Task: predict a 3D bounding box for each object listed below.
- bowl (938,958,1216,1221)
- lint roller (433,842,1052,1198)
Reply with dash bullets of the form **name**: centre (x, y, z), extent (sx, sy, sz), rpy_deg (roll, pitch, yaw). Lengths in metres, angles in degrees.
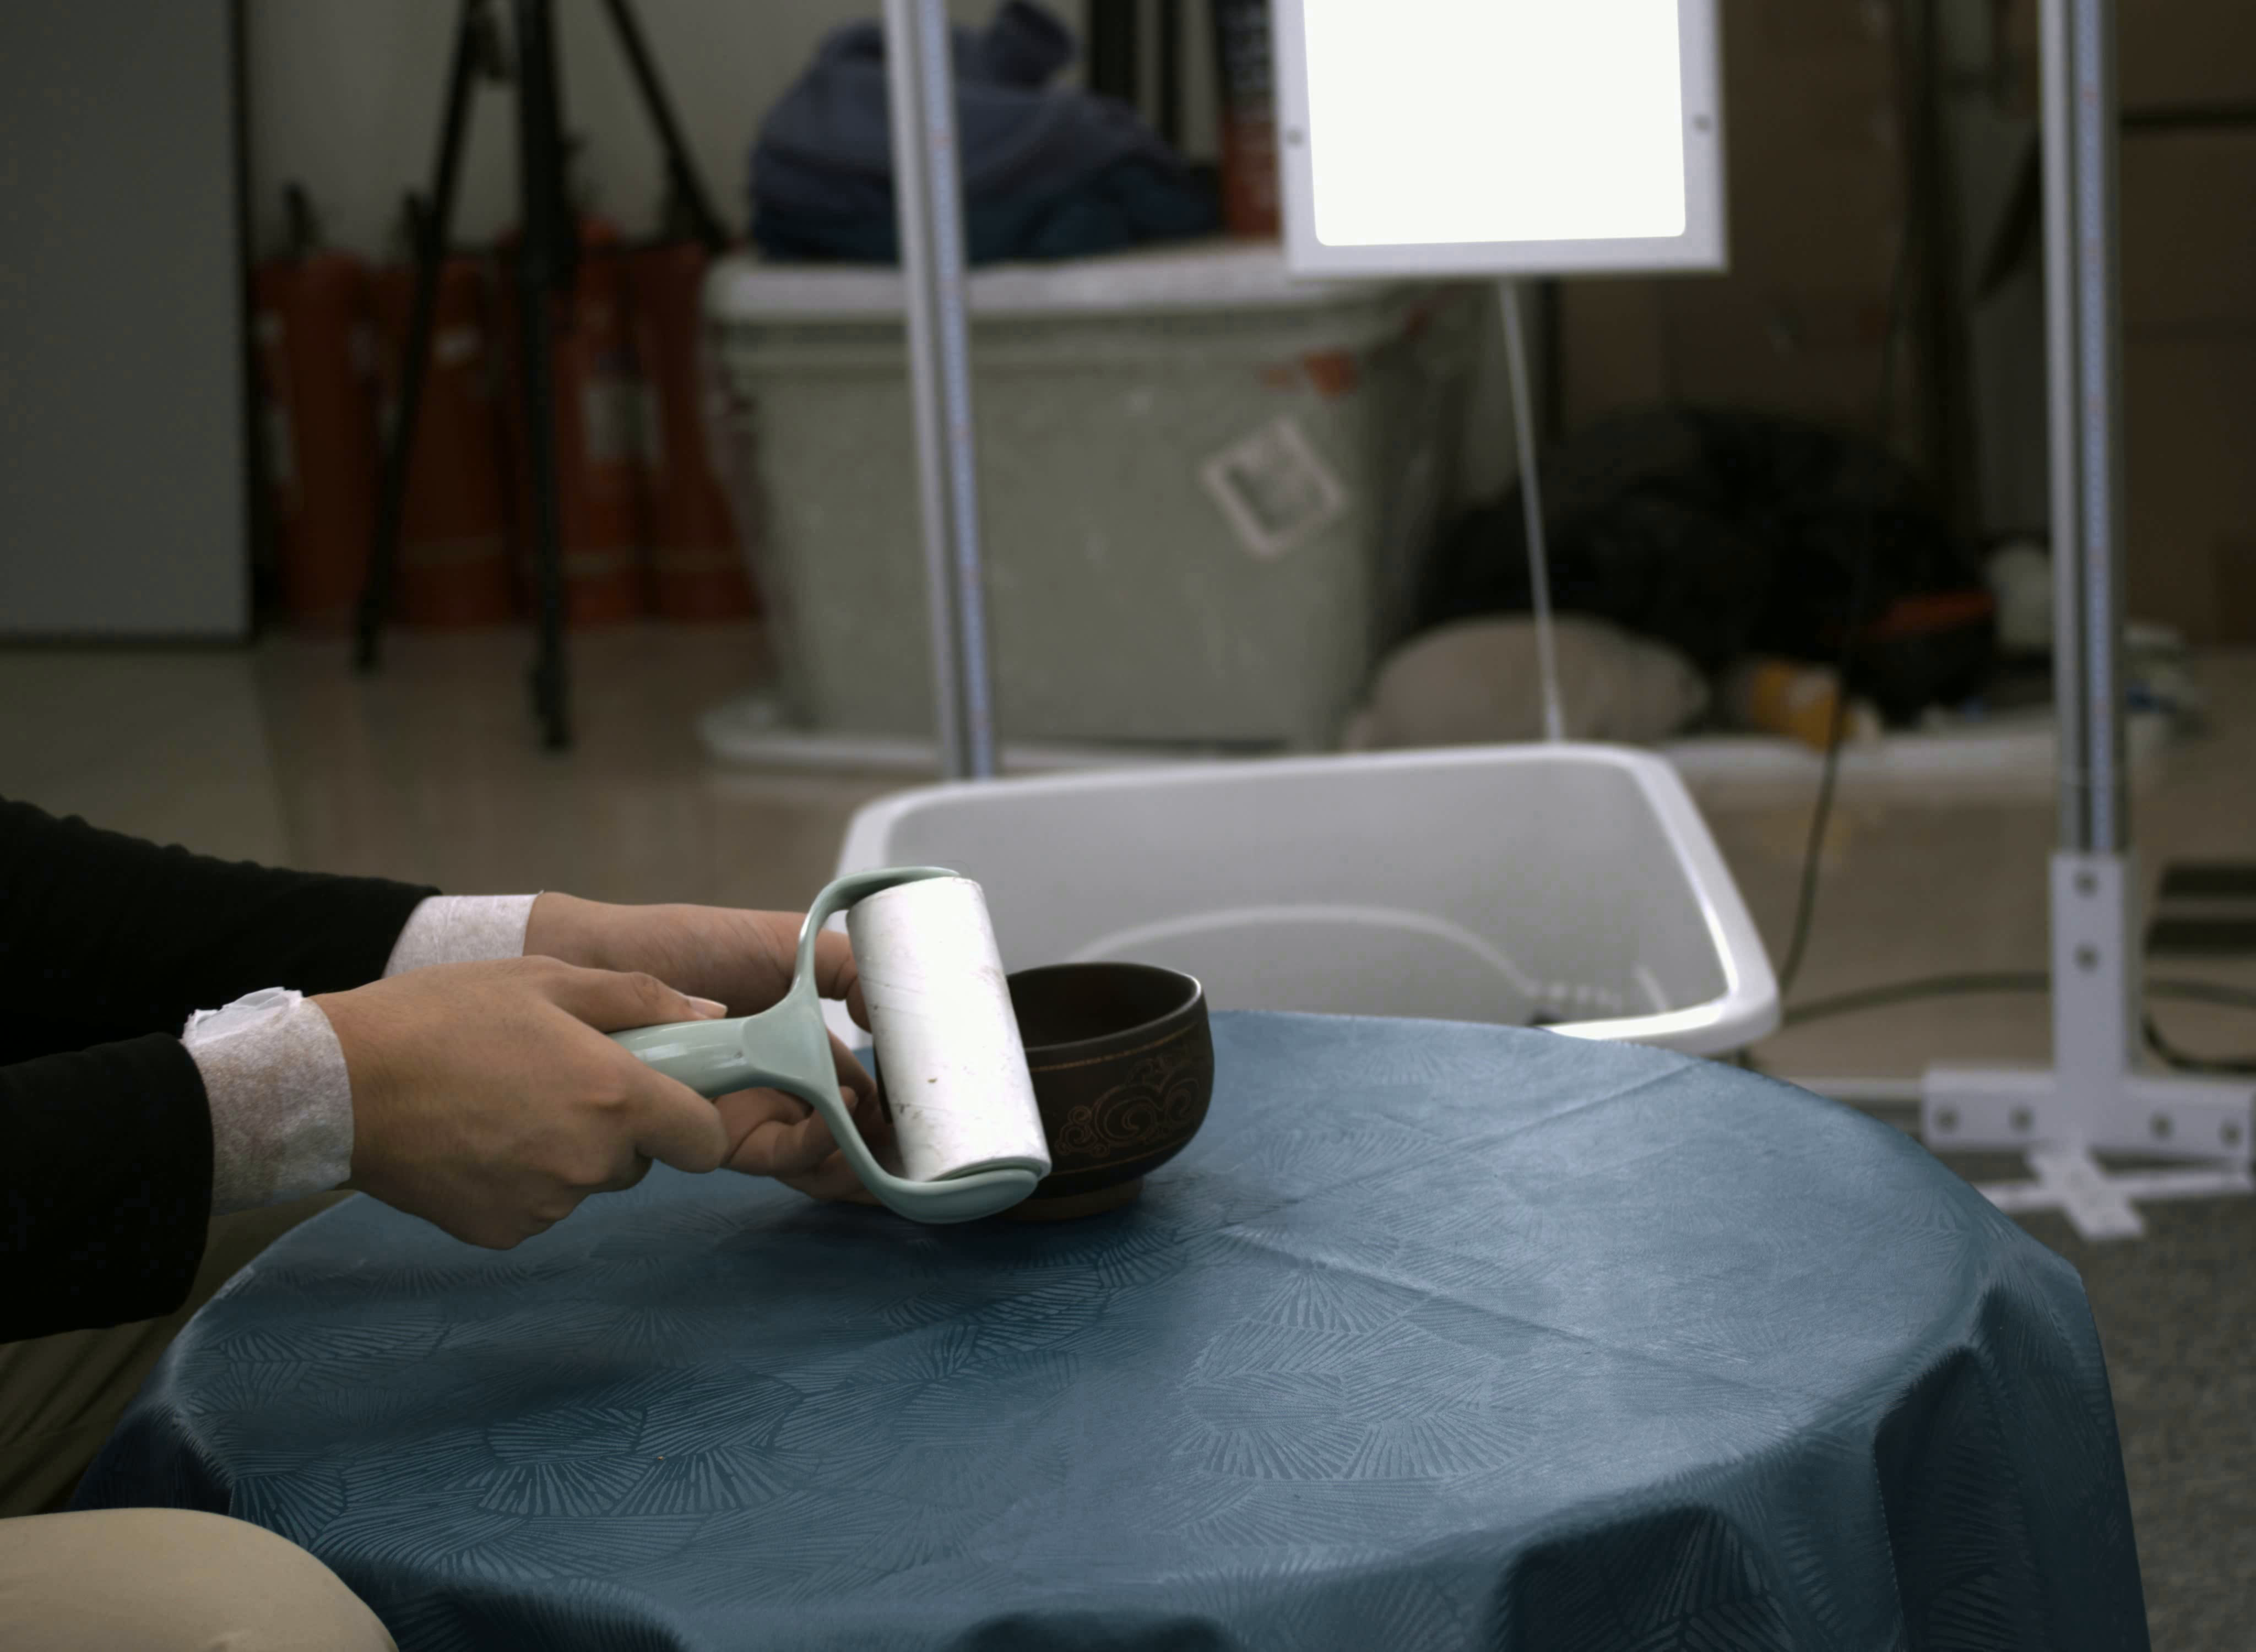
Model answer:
- **bowl**: centre (-0.027, 0.094, 1.888), extent (0.118, 0.070, 0.118), rpy_deg (-7, 14, 0)
- **lint roller**: centre (-0.128, 0.072, 1.789), extent (0.194, 0.117, 0.049), rpy_deg (-7, -20, -19)
